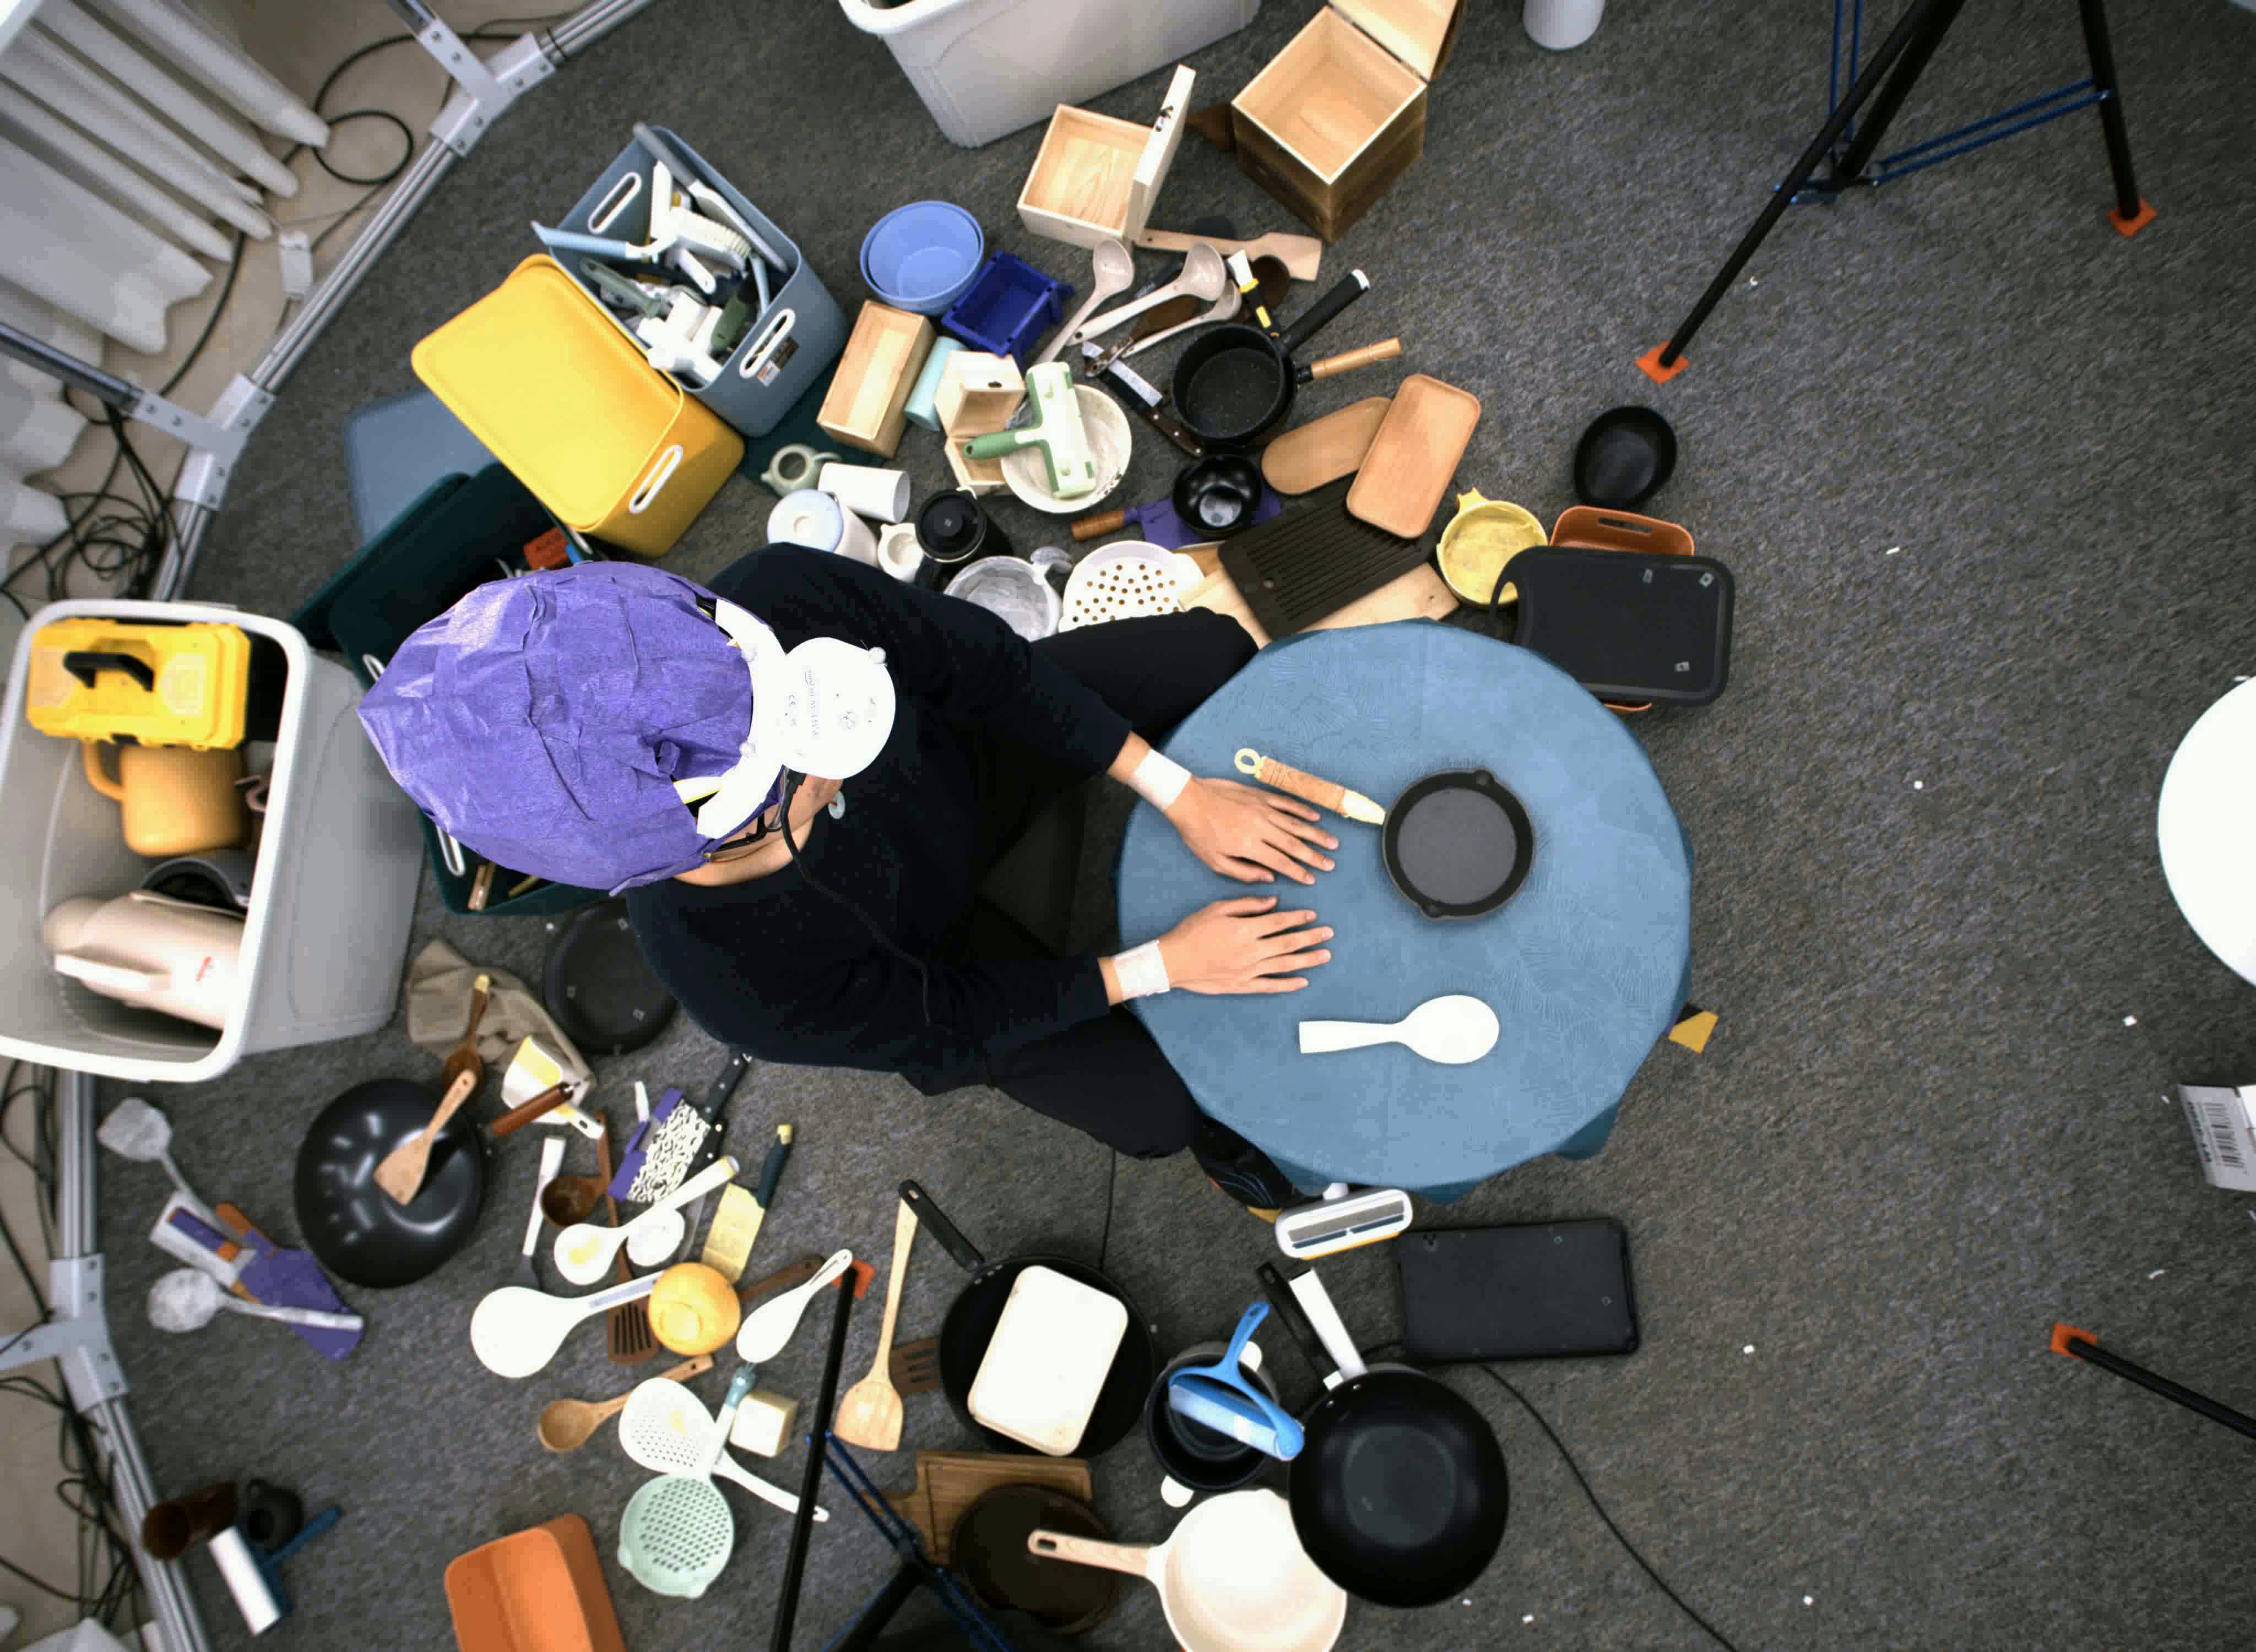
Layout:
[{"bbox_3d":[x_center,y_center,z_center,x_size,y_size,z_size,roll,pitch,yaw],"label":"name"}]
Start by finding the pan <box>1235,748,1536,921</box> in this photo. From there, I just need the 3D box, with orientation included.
[{"bbox_3d":[0.265,-0.015,1.440,0.324,0.049,0.169,23,91,9],"label":"pan"}]

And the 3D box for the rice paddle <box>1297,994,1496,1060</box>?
[{"bbox_3d":[0.279,0.211,1.436,0.206,0.029,0.068,-6,87,11],"label":"rice paddle"}]
